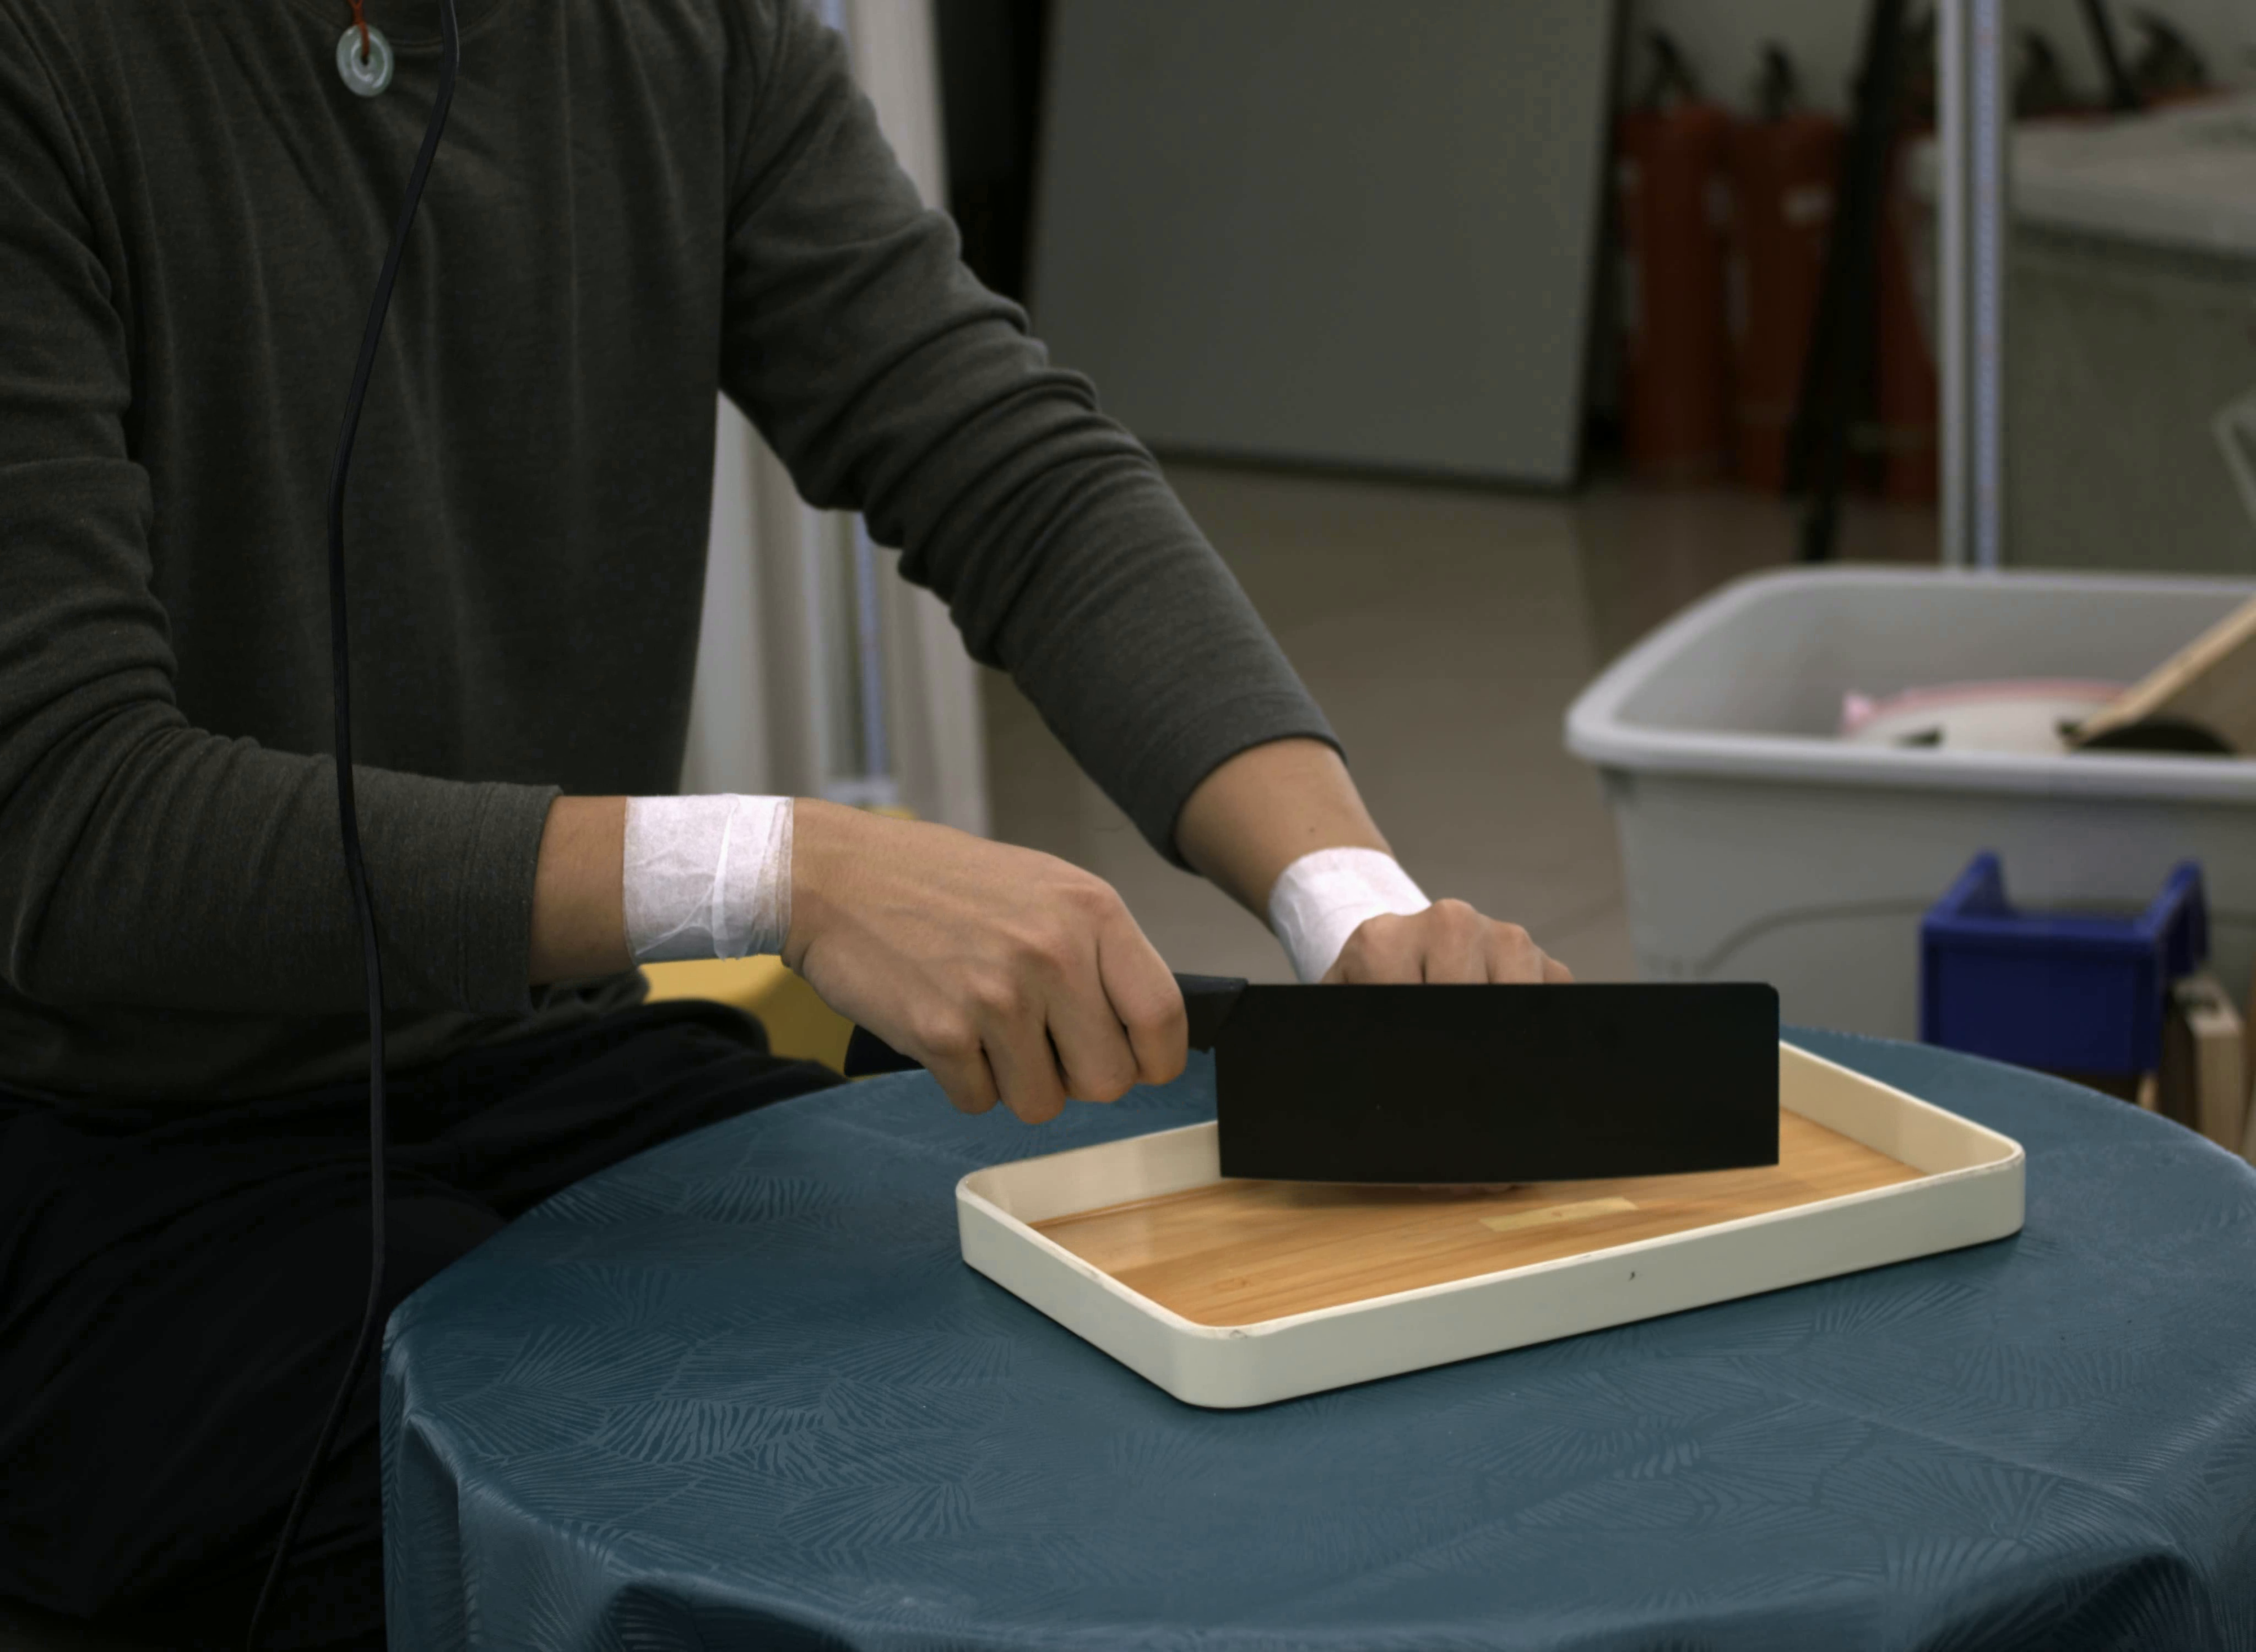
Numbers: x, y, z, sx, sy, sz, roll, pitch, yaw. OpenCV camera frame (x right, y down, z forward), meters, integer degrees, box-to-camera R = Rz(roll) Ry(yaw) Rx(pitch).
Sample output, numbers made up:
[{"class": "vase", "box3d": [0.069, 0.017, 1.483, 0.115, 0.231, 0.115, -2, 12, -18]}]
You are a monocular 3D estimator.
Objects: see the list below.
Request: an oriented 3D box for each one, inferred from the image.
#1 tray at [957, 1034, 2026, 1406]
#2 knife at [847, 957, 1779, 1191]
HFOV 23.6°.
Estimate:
[{"class": "tray", "box3d": [0.113, 0.119, 1.694, 0.294, 0.028, 0.193, -10, 14, -23]}, {"class": "knife", "box3d": [0.058, 0.077, 1.711, 0.300, 0.082, 0.021, 4, 11, 9]}]
